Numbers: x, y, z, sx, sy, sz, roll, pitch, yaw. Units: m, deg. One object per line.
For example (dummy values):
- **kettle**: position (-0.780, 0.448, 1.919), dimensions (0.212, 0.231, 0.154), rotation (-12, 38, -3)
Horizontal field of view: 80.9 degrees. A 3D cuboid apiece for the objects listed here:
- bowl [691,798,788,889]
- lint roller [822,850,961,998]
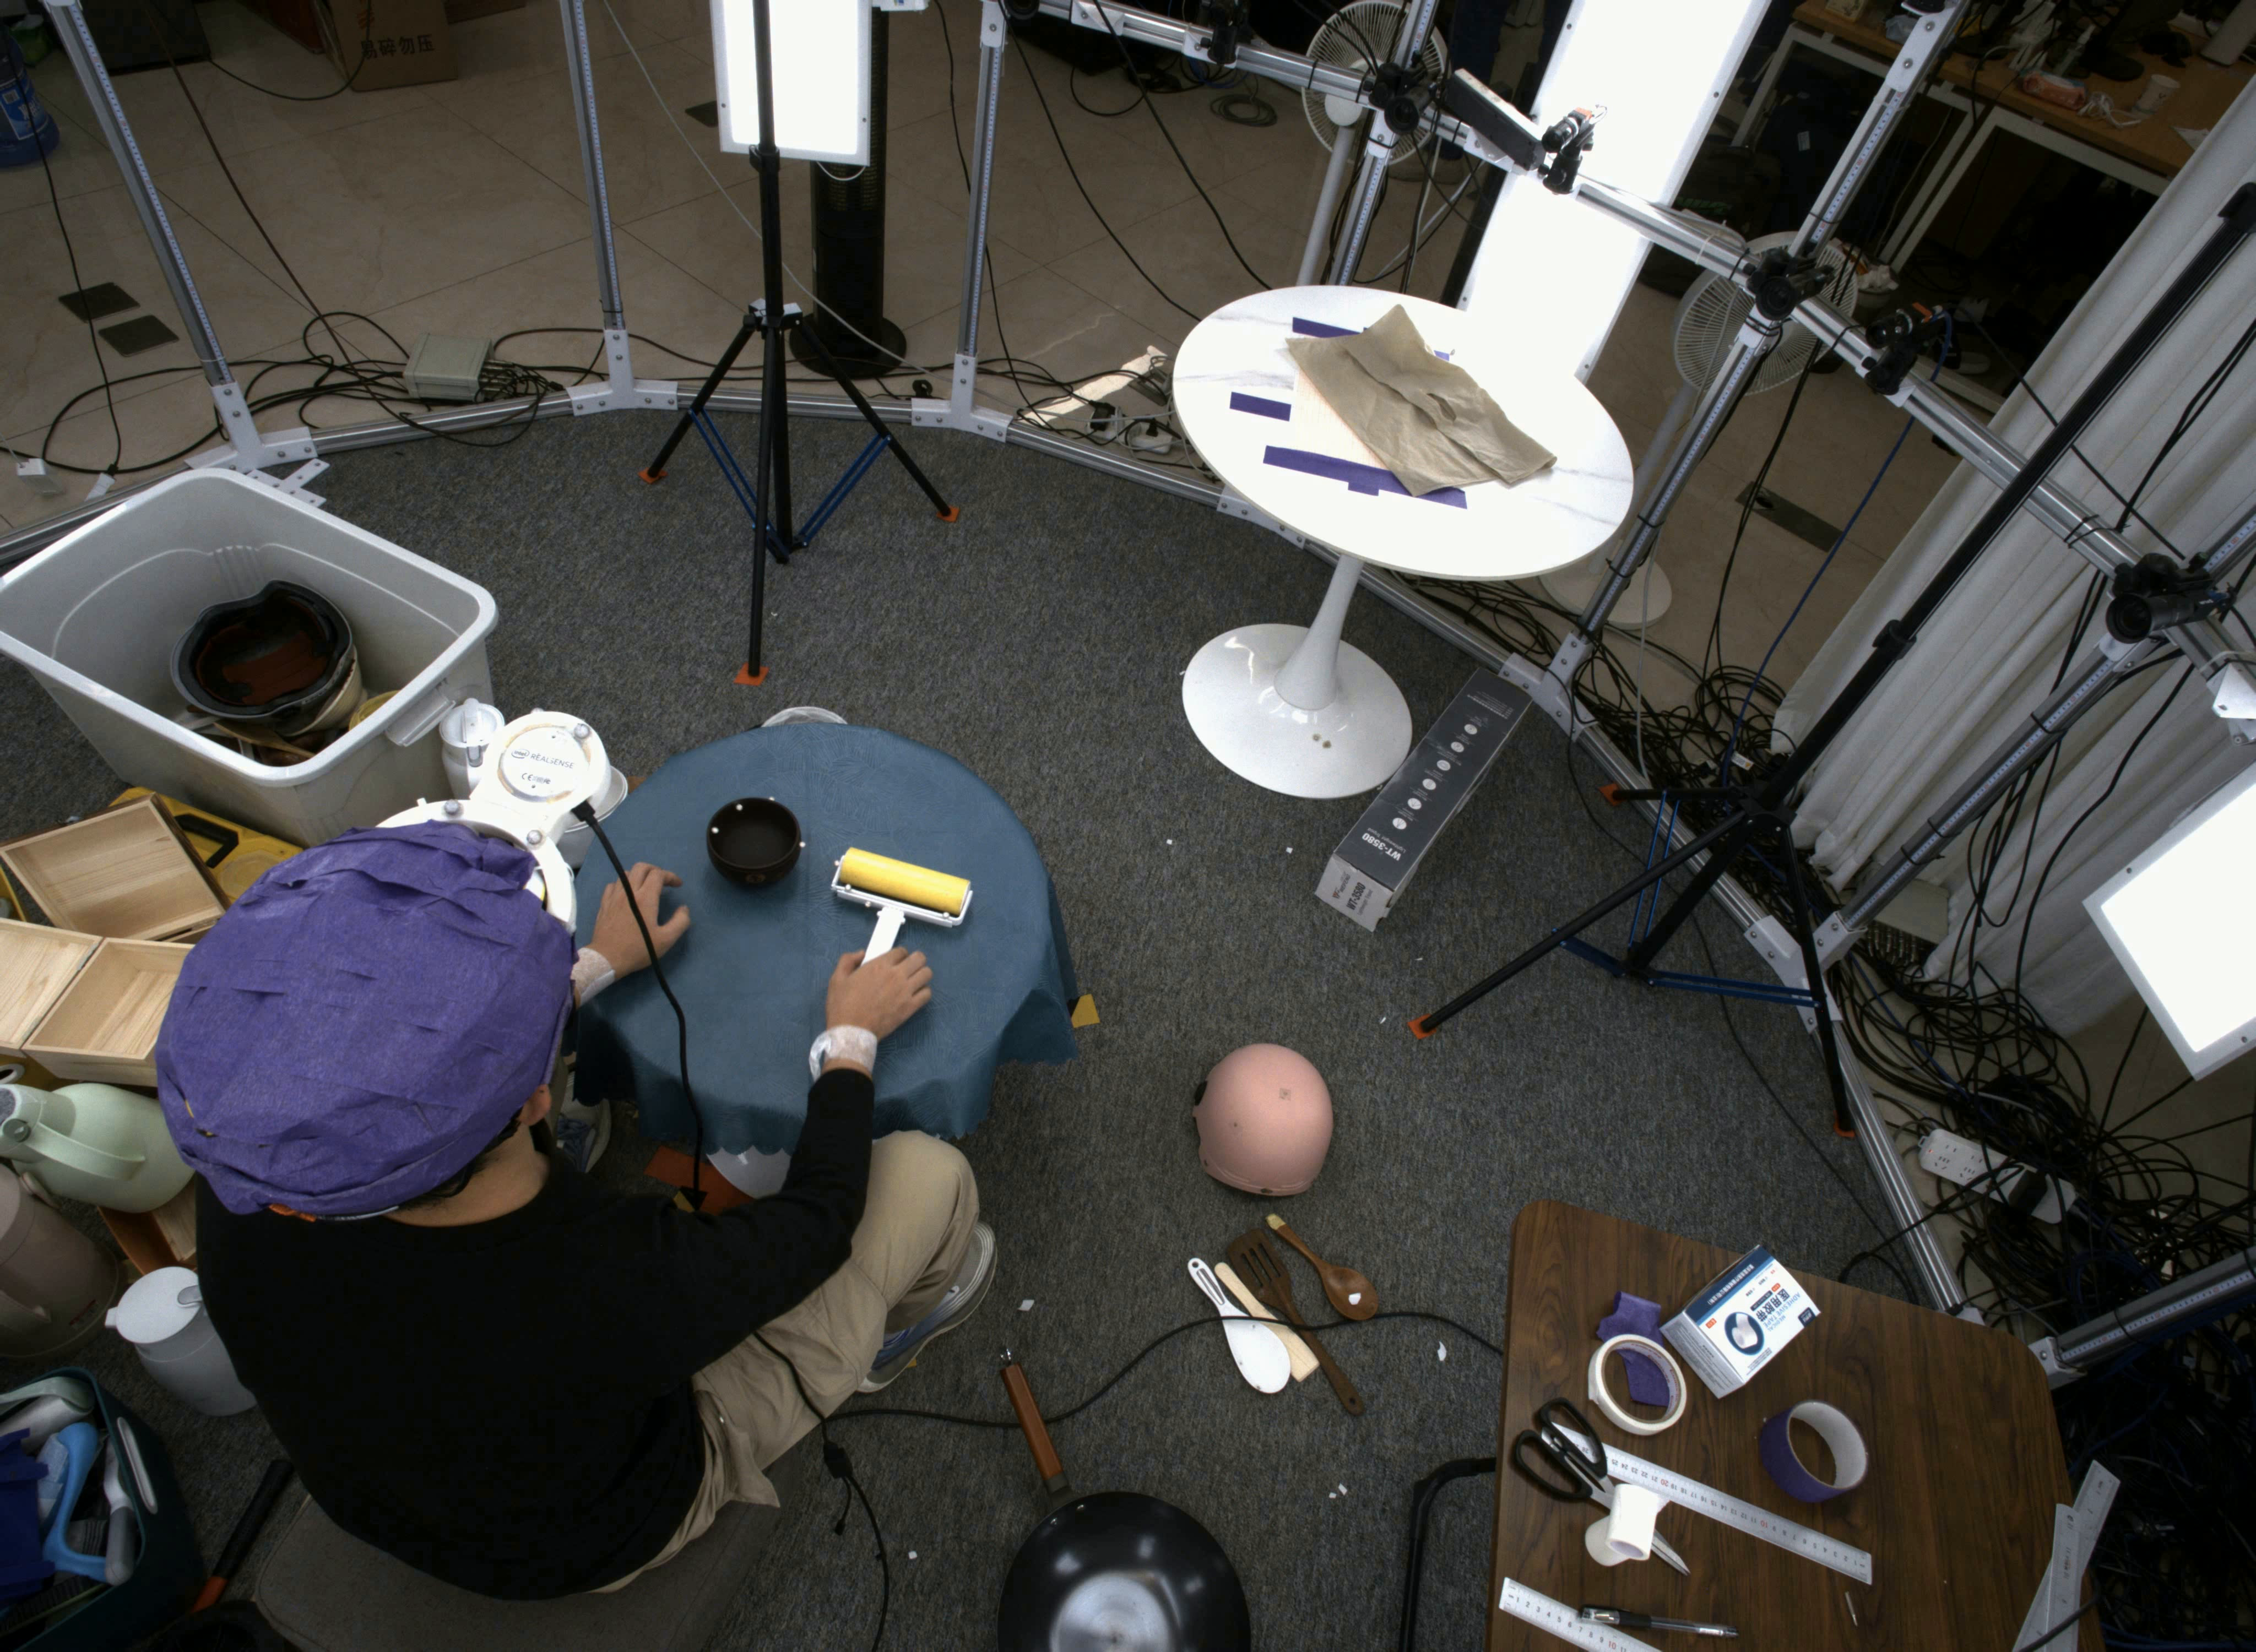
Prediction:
- **bowl**: position (-0.489, 0.029, 1.632), dimensions (0.118, 0.071, 0.116), rotation (8, 51, -8)
- **lint roller**: position (-0.312, 0.122, 1.624), dimensions (0.173, 0.052, 0.189), rotation (14, 47, -3)
